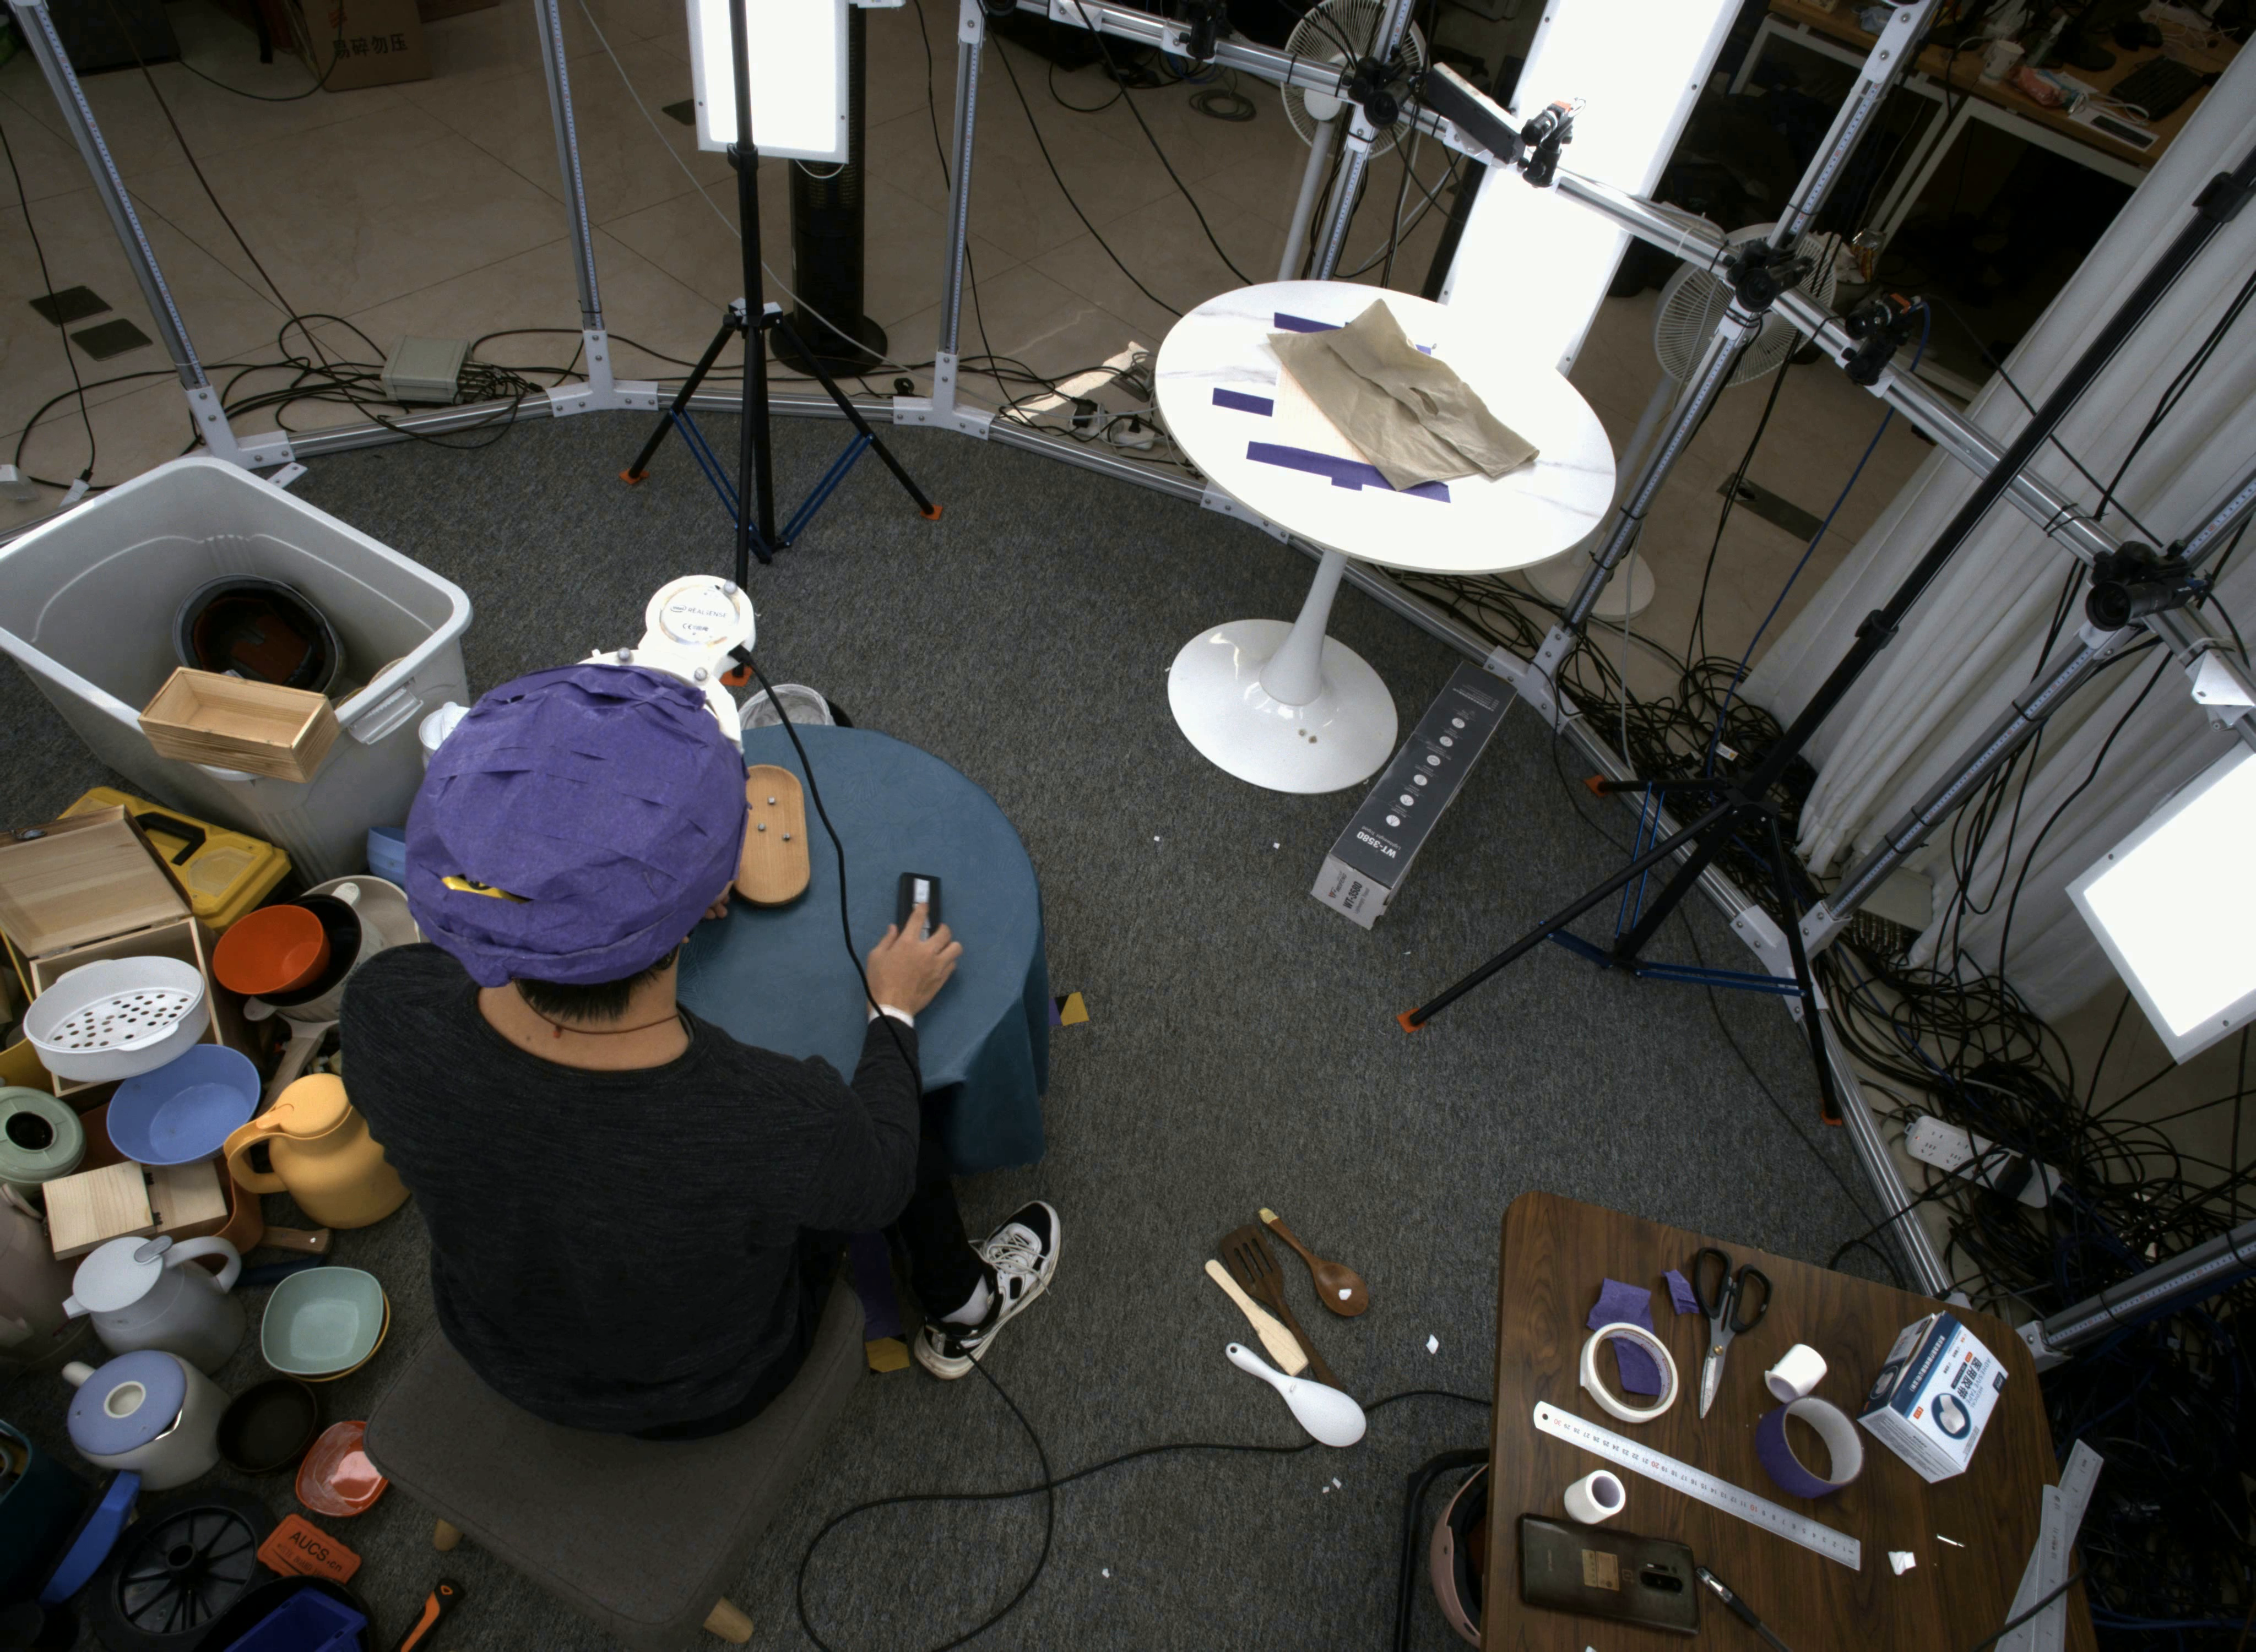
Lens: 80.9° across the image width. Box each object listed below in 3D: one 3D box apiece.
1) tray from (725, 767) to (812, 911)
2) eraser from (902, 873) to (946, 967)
[{"bbox_3d":[-0.468,0.013,1.682,0.102,0.021,0.226,-3,55,-19],"label":"tray"},{"bbox_3d":[-0.258,0.116,1.644,0.054,0.031,0.123,7,53,-16],"label":"eraser"}]
